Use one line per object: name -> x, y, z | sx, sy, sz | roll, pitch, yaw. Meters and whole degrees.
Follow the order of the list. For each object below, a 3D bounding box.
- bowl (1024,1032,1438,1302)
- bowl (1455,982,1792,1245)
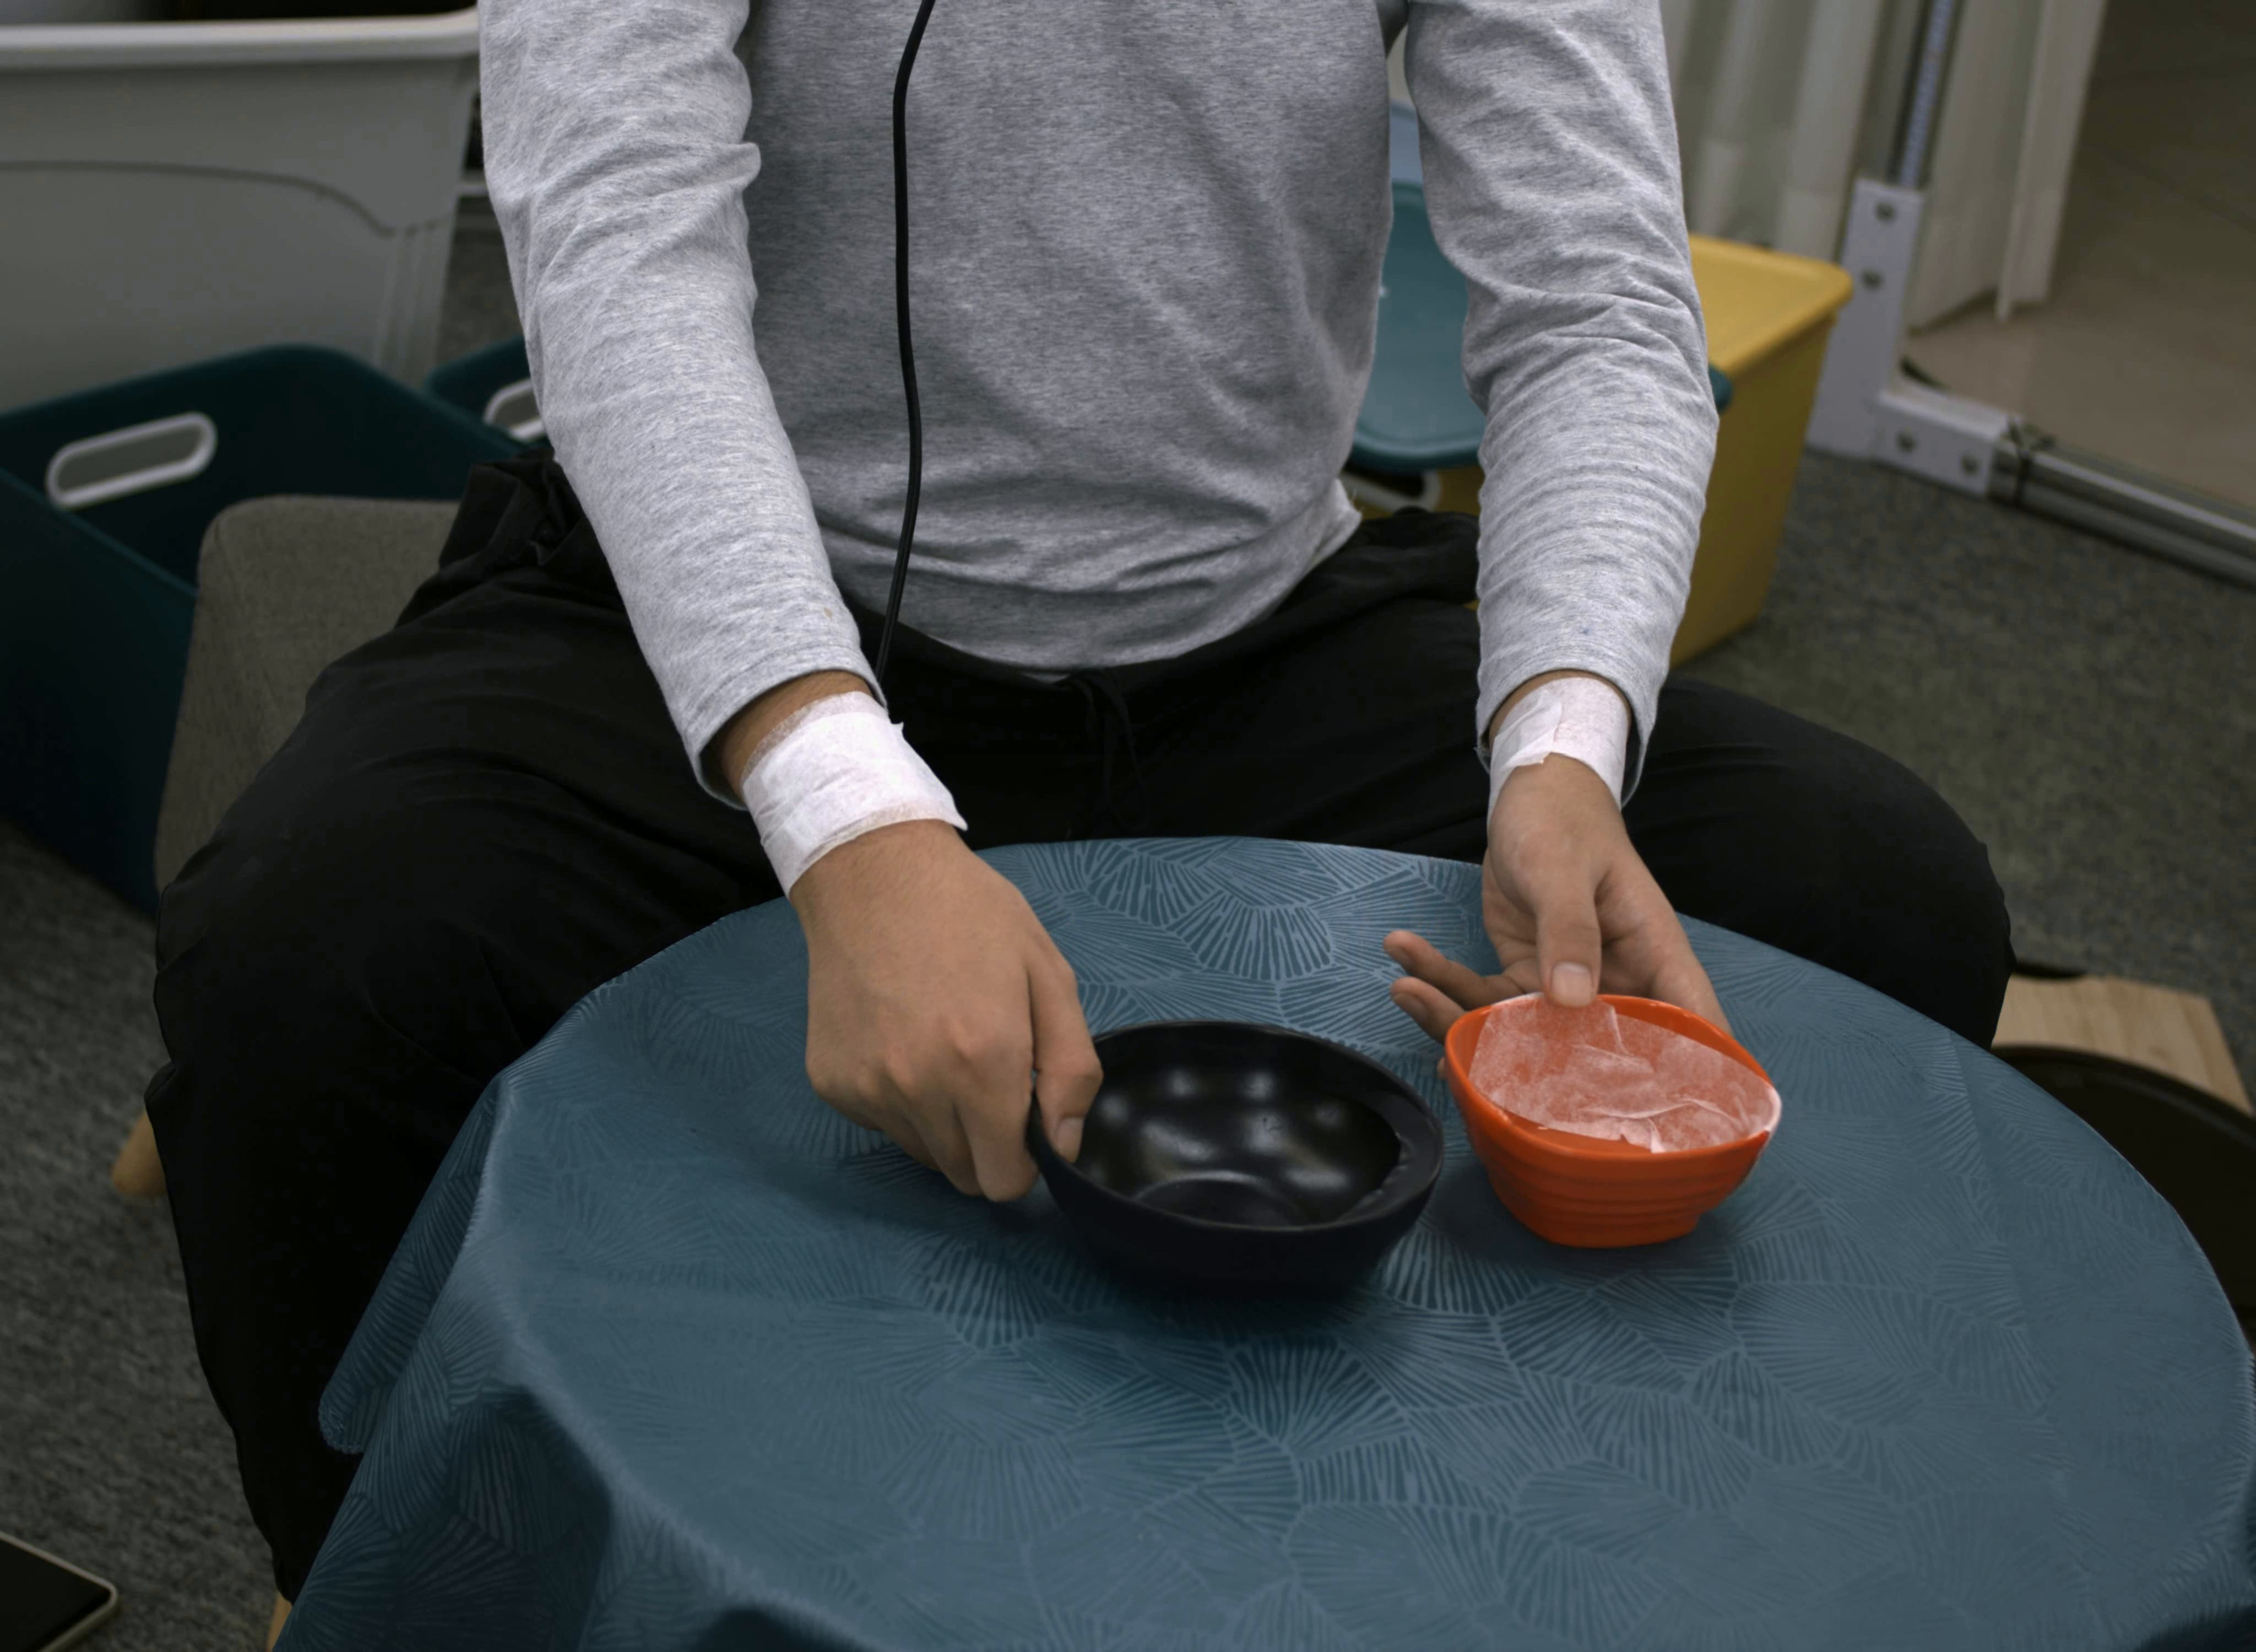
bowl -> 0.032, 0.120, 1.771 | 0.139, 0.049, 0.141 | 5, 23, -3
bowl -> 0.166, 0.103, 1.822 | 0.118, 0.051, 0.120 | 5, 30, -3
